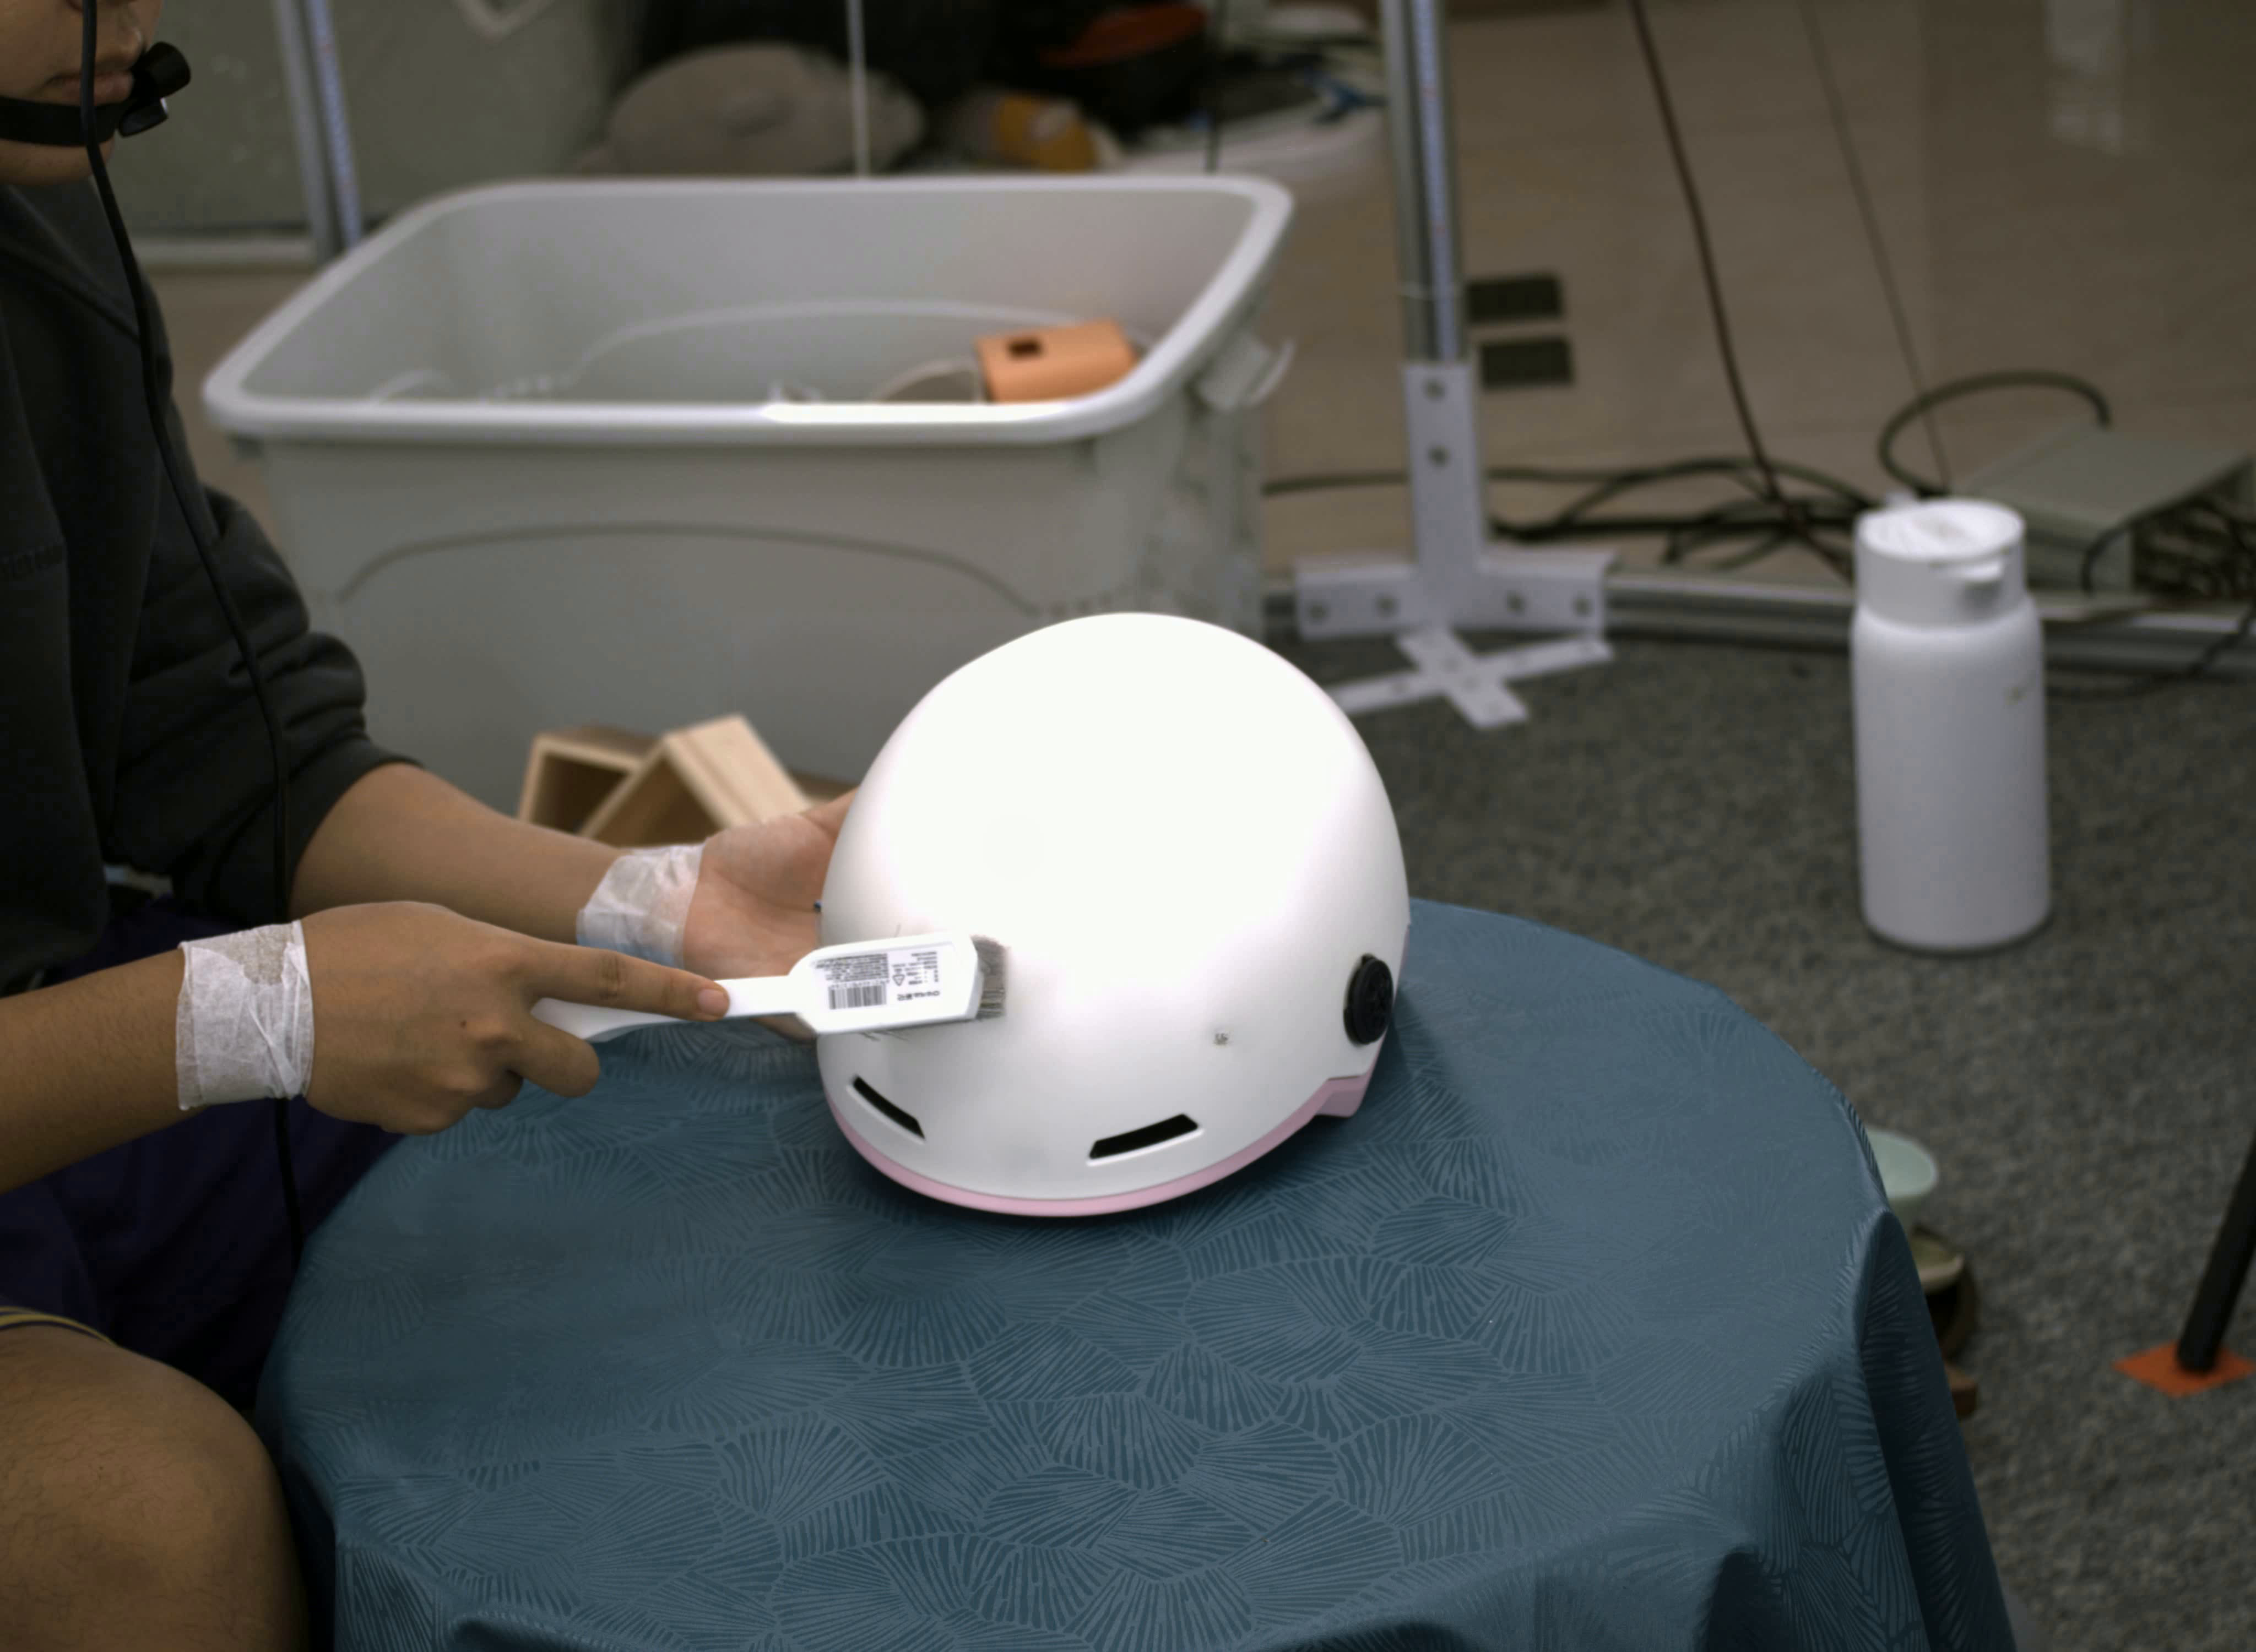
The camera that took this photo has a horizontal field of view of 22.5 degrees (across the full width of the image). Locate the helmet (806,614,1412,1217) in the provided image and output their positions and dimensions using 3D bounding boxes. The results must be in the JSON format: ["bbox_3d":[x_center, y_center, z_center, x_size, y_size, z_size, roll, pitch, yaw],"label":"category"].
[{"bbox_3d":[-0.006,0.017,2.199,0.236,0.170,0.265,7,28,19],"label":"helmet"}]

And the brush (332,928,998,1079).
[{"bbox_3d":[-0.169,0.068,2.083,0.243,0.034,0.050,-7,-6,-1],"label":"brush"}]
